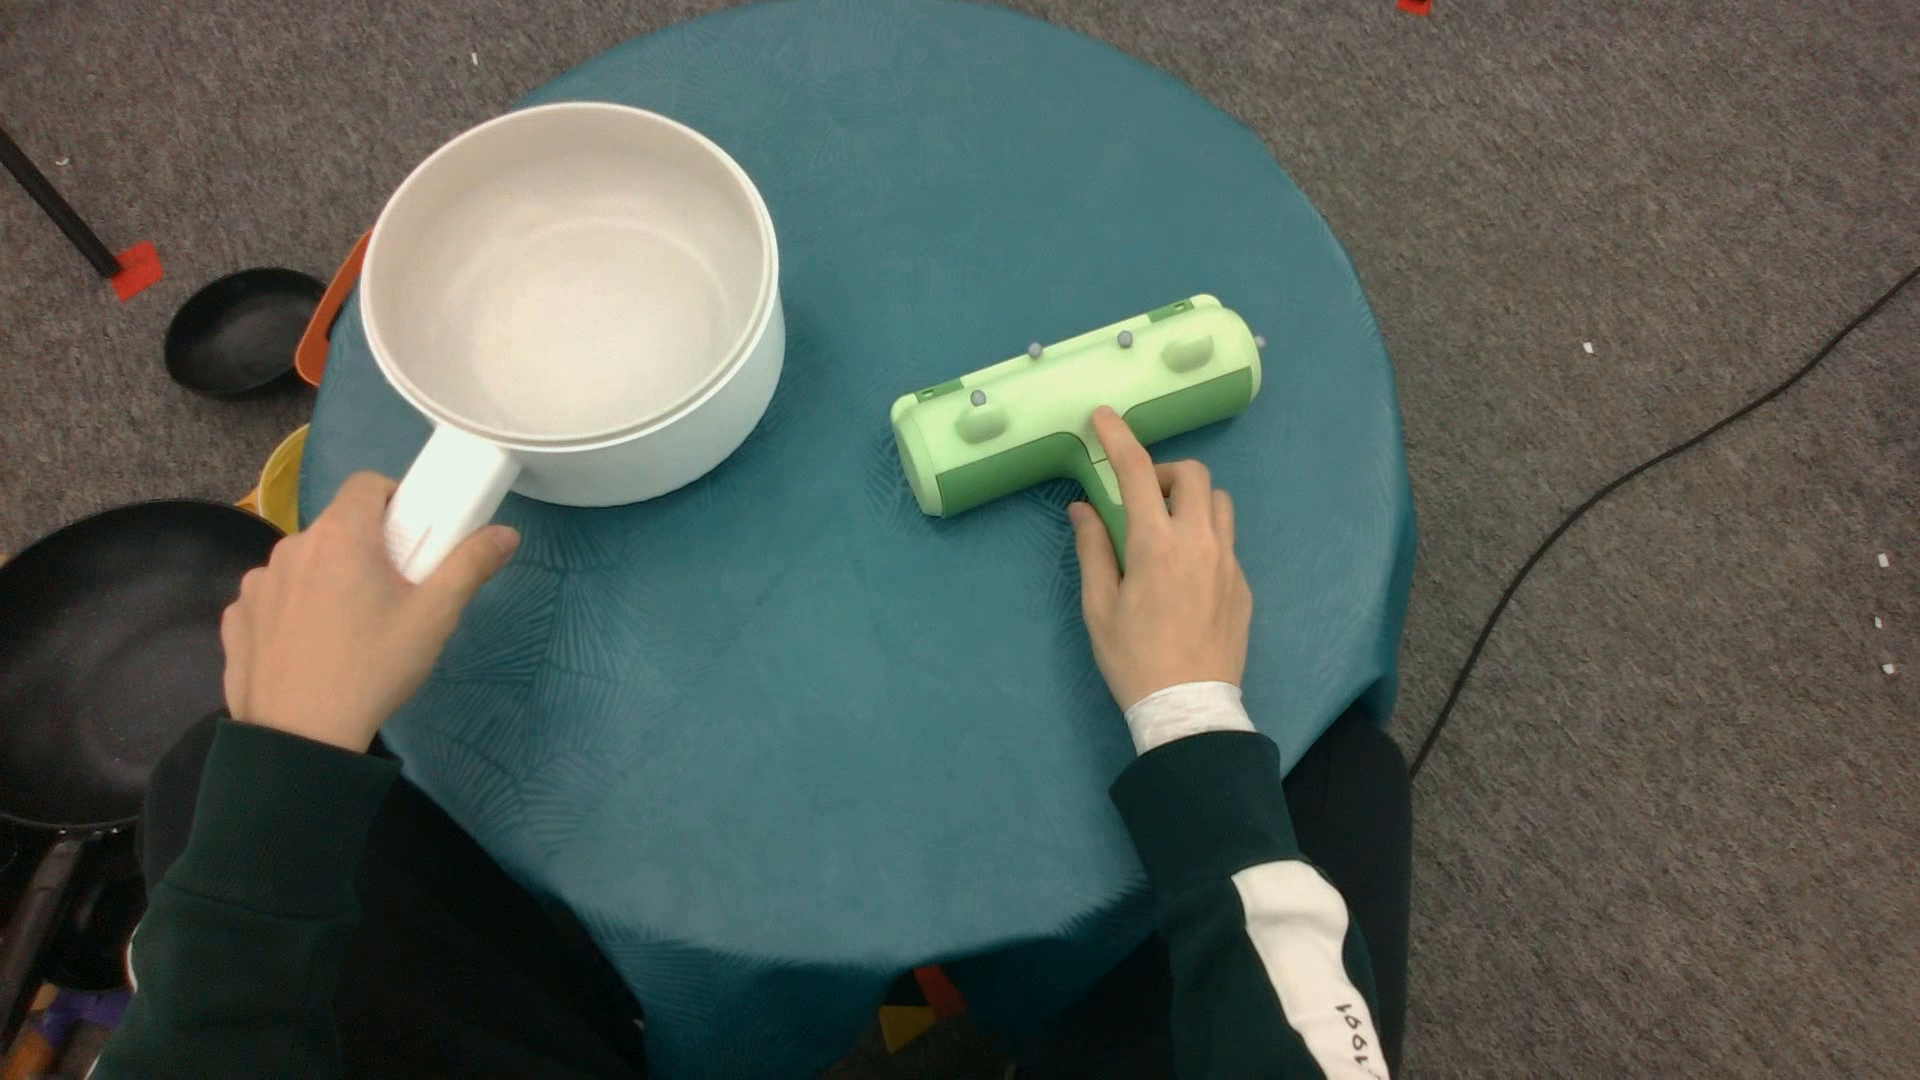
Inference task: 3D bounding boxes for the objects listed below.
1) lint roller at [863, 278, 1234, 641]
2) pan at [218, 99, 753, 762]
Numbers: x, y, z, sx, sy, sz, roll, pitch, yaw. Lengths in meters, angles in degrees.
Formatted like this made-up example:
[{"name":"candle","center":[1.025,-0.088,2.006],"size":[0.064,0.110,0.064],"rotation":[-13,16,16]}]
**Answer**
[{"name":"lint roller","center":[0.070,-0.039,0.703],"size":[0.199,0.082,0.184],"rotation":[-21,62,-10]},{"name":"pan","center":[-0.235,-0.052,0.688],"size":[0.201,0.102,0.356],"rotation":[20,69,6]}]
